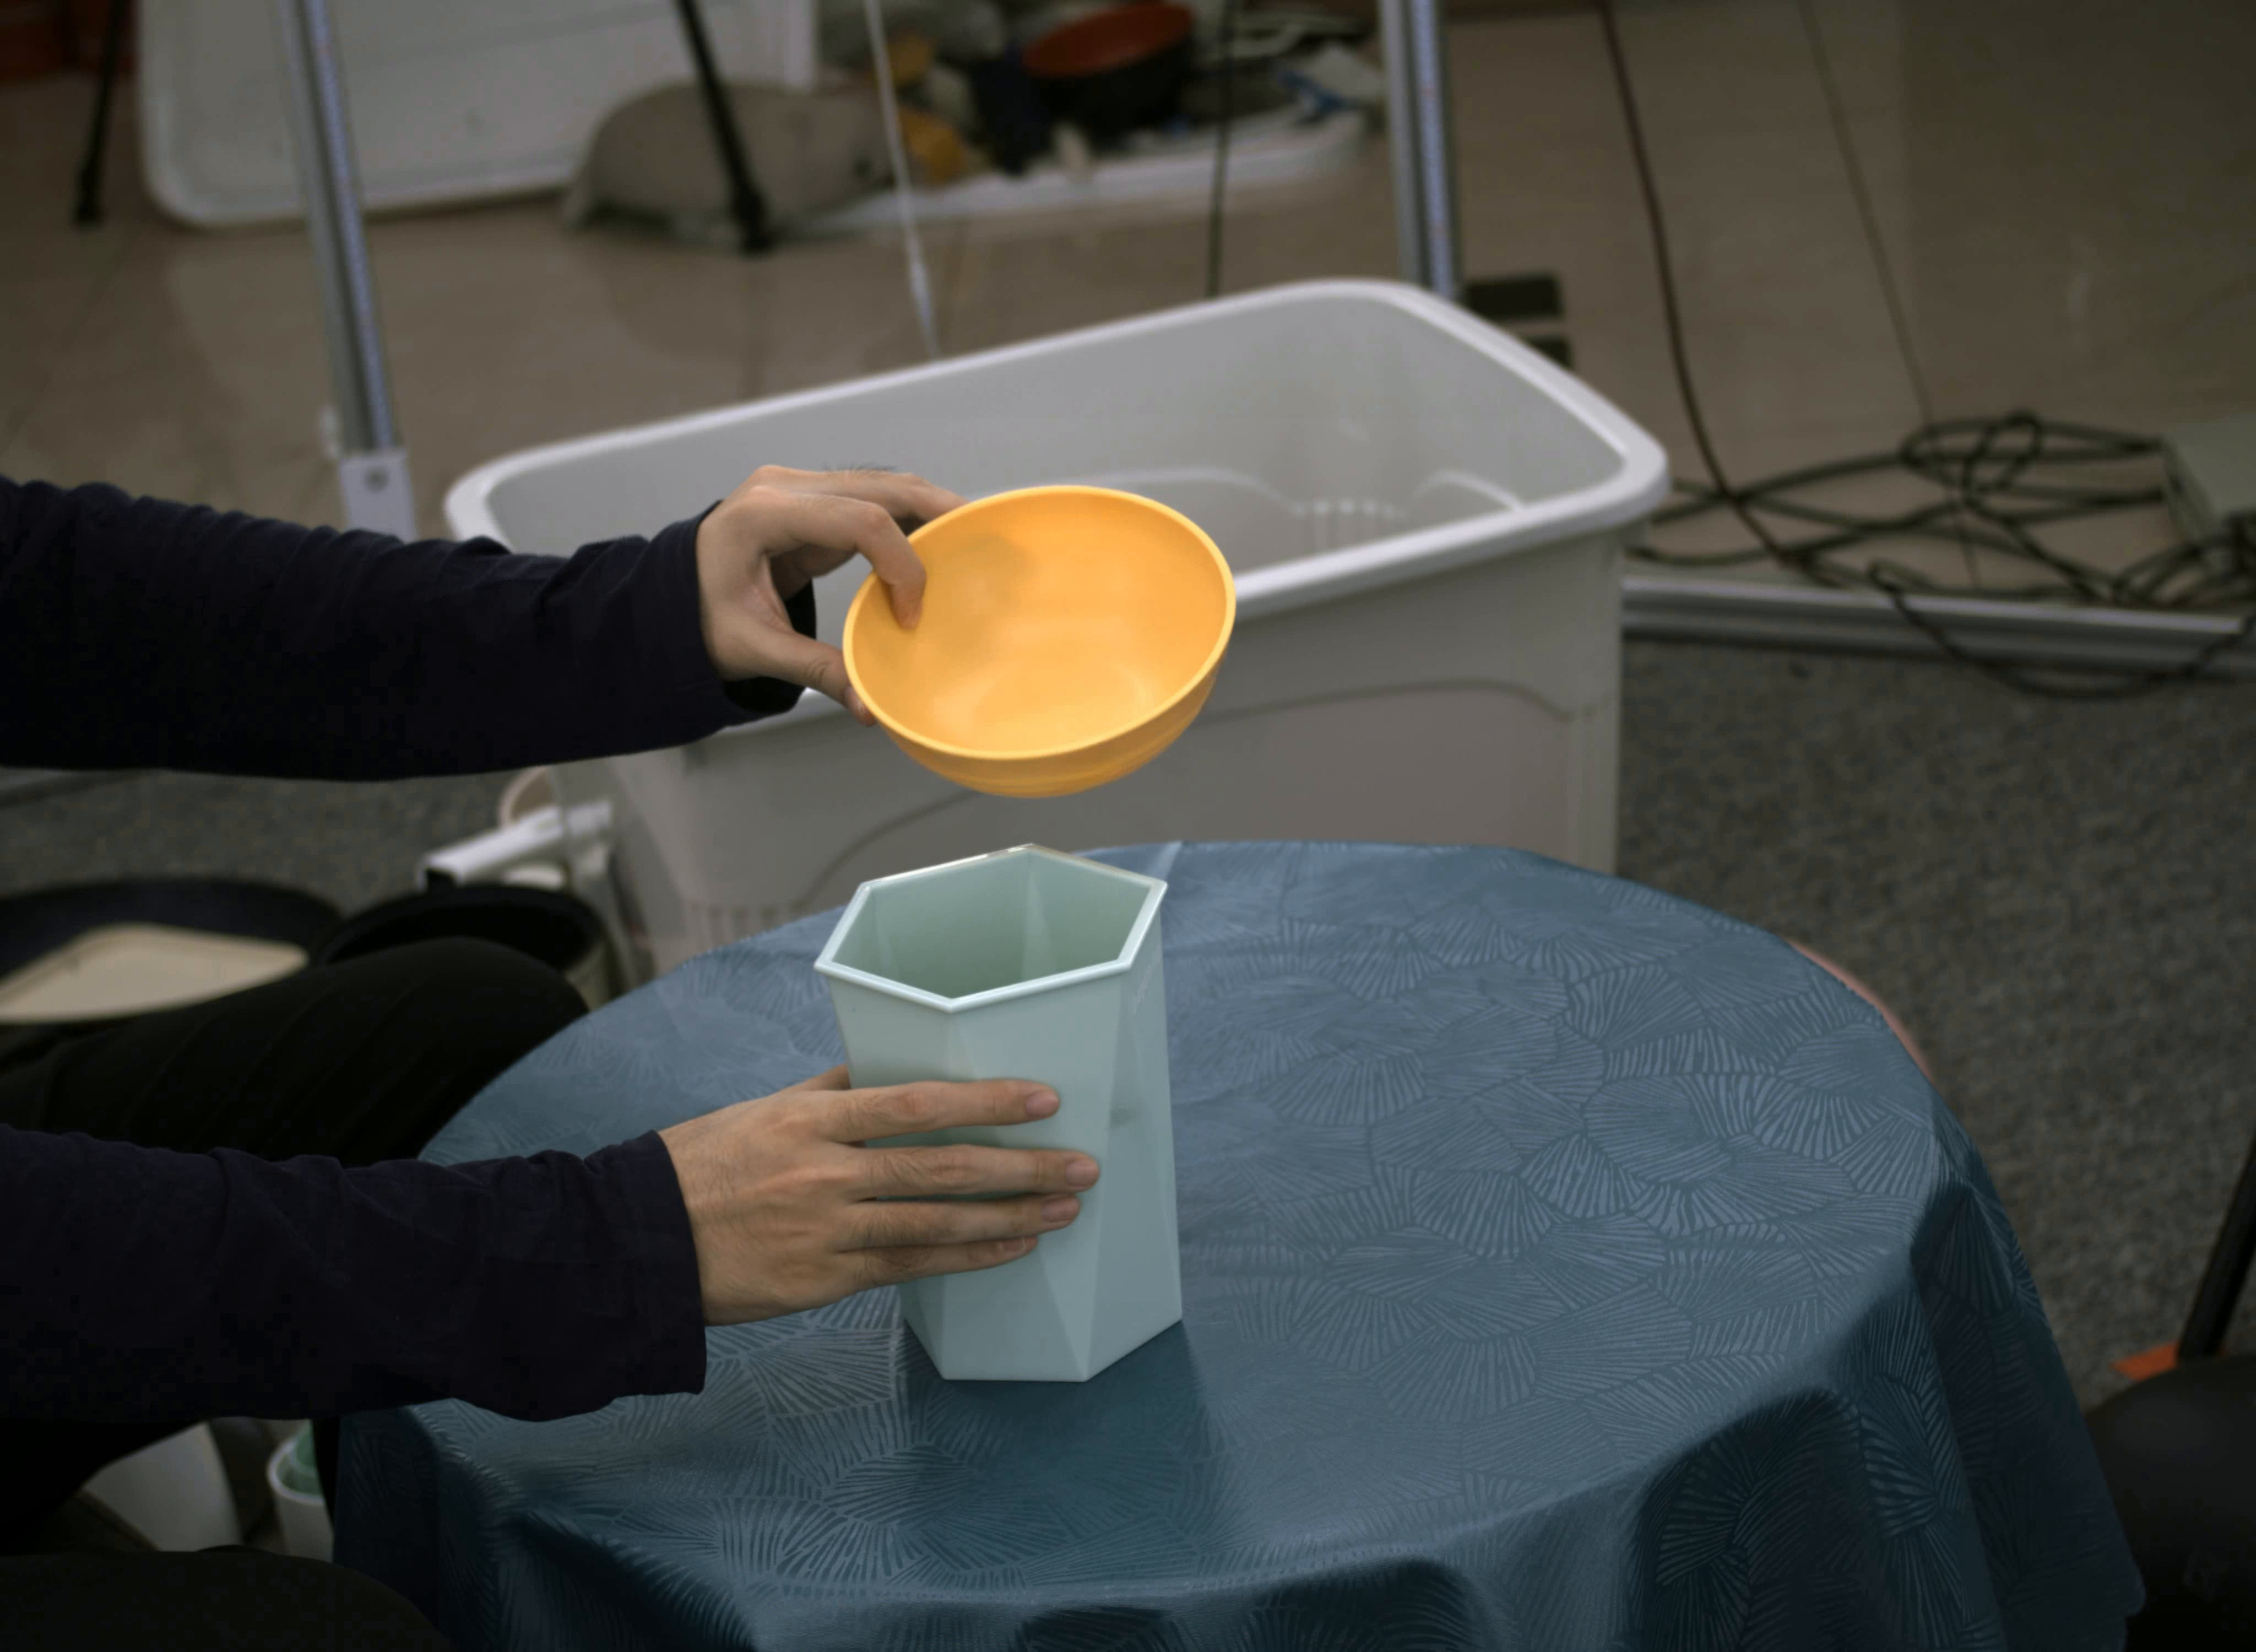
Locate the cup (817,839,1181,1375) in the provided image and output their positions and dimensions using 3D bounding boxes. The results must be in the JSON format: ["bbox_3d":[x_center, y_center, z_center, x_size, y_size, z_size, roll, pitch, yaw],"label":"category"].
[{"bbox_3d":[-0.039,0.104,2.033,0.115,0.165,0.129,-1,25,13],"label":"cup"}]

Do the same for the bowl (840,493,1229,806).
[{"bbox_3d":[-0.030,-0.053,2.074,0.145,0.061,0.142,-7,45,7],"label":"bowl"}]
